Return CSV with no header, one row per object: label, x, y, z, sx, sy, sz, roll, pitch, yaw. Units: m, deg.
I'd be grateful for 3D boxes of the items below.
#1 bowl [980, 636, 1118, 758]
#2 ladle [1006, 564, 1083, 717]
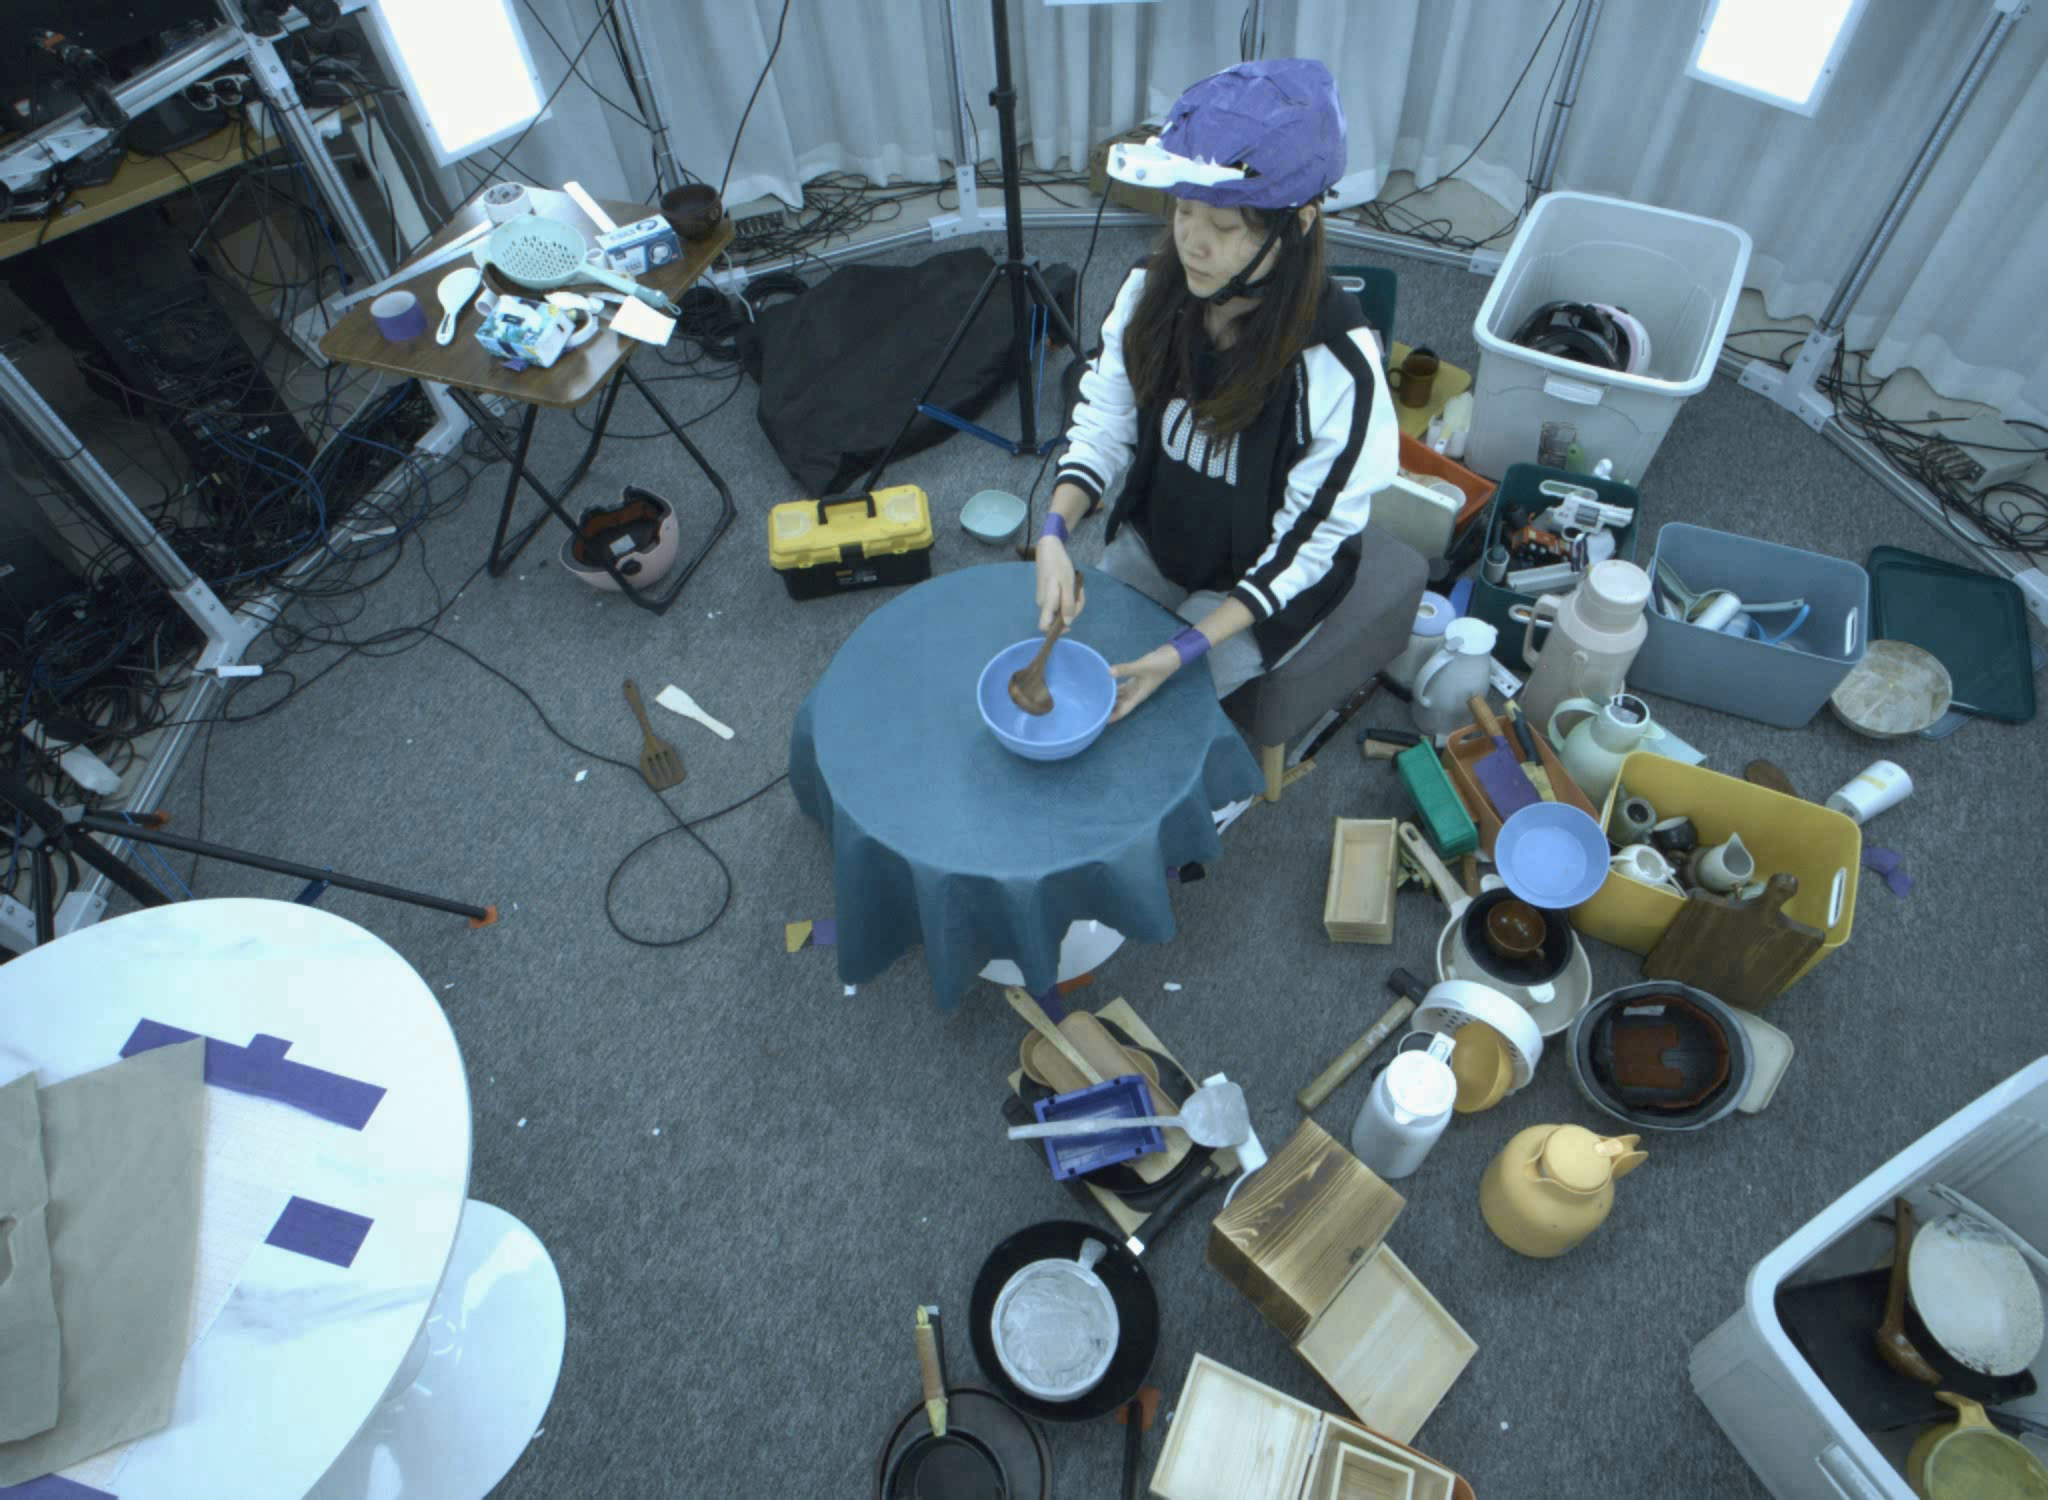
bowl,0.042,-0.061,1.772,0.195,0.097,0.194,-4,54,7
ladle,0.043,-0.163,1.761,0.064,0.078,0.260,-5,56,55
